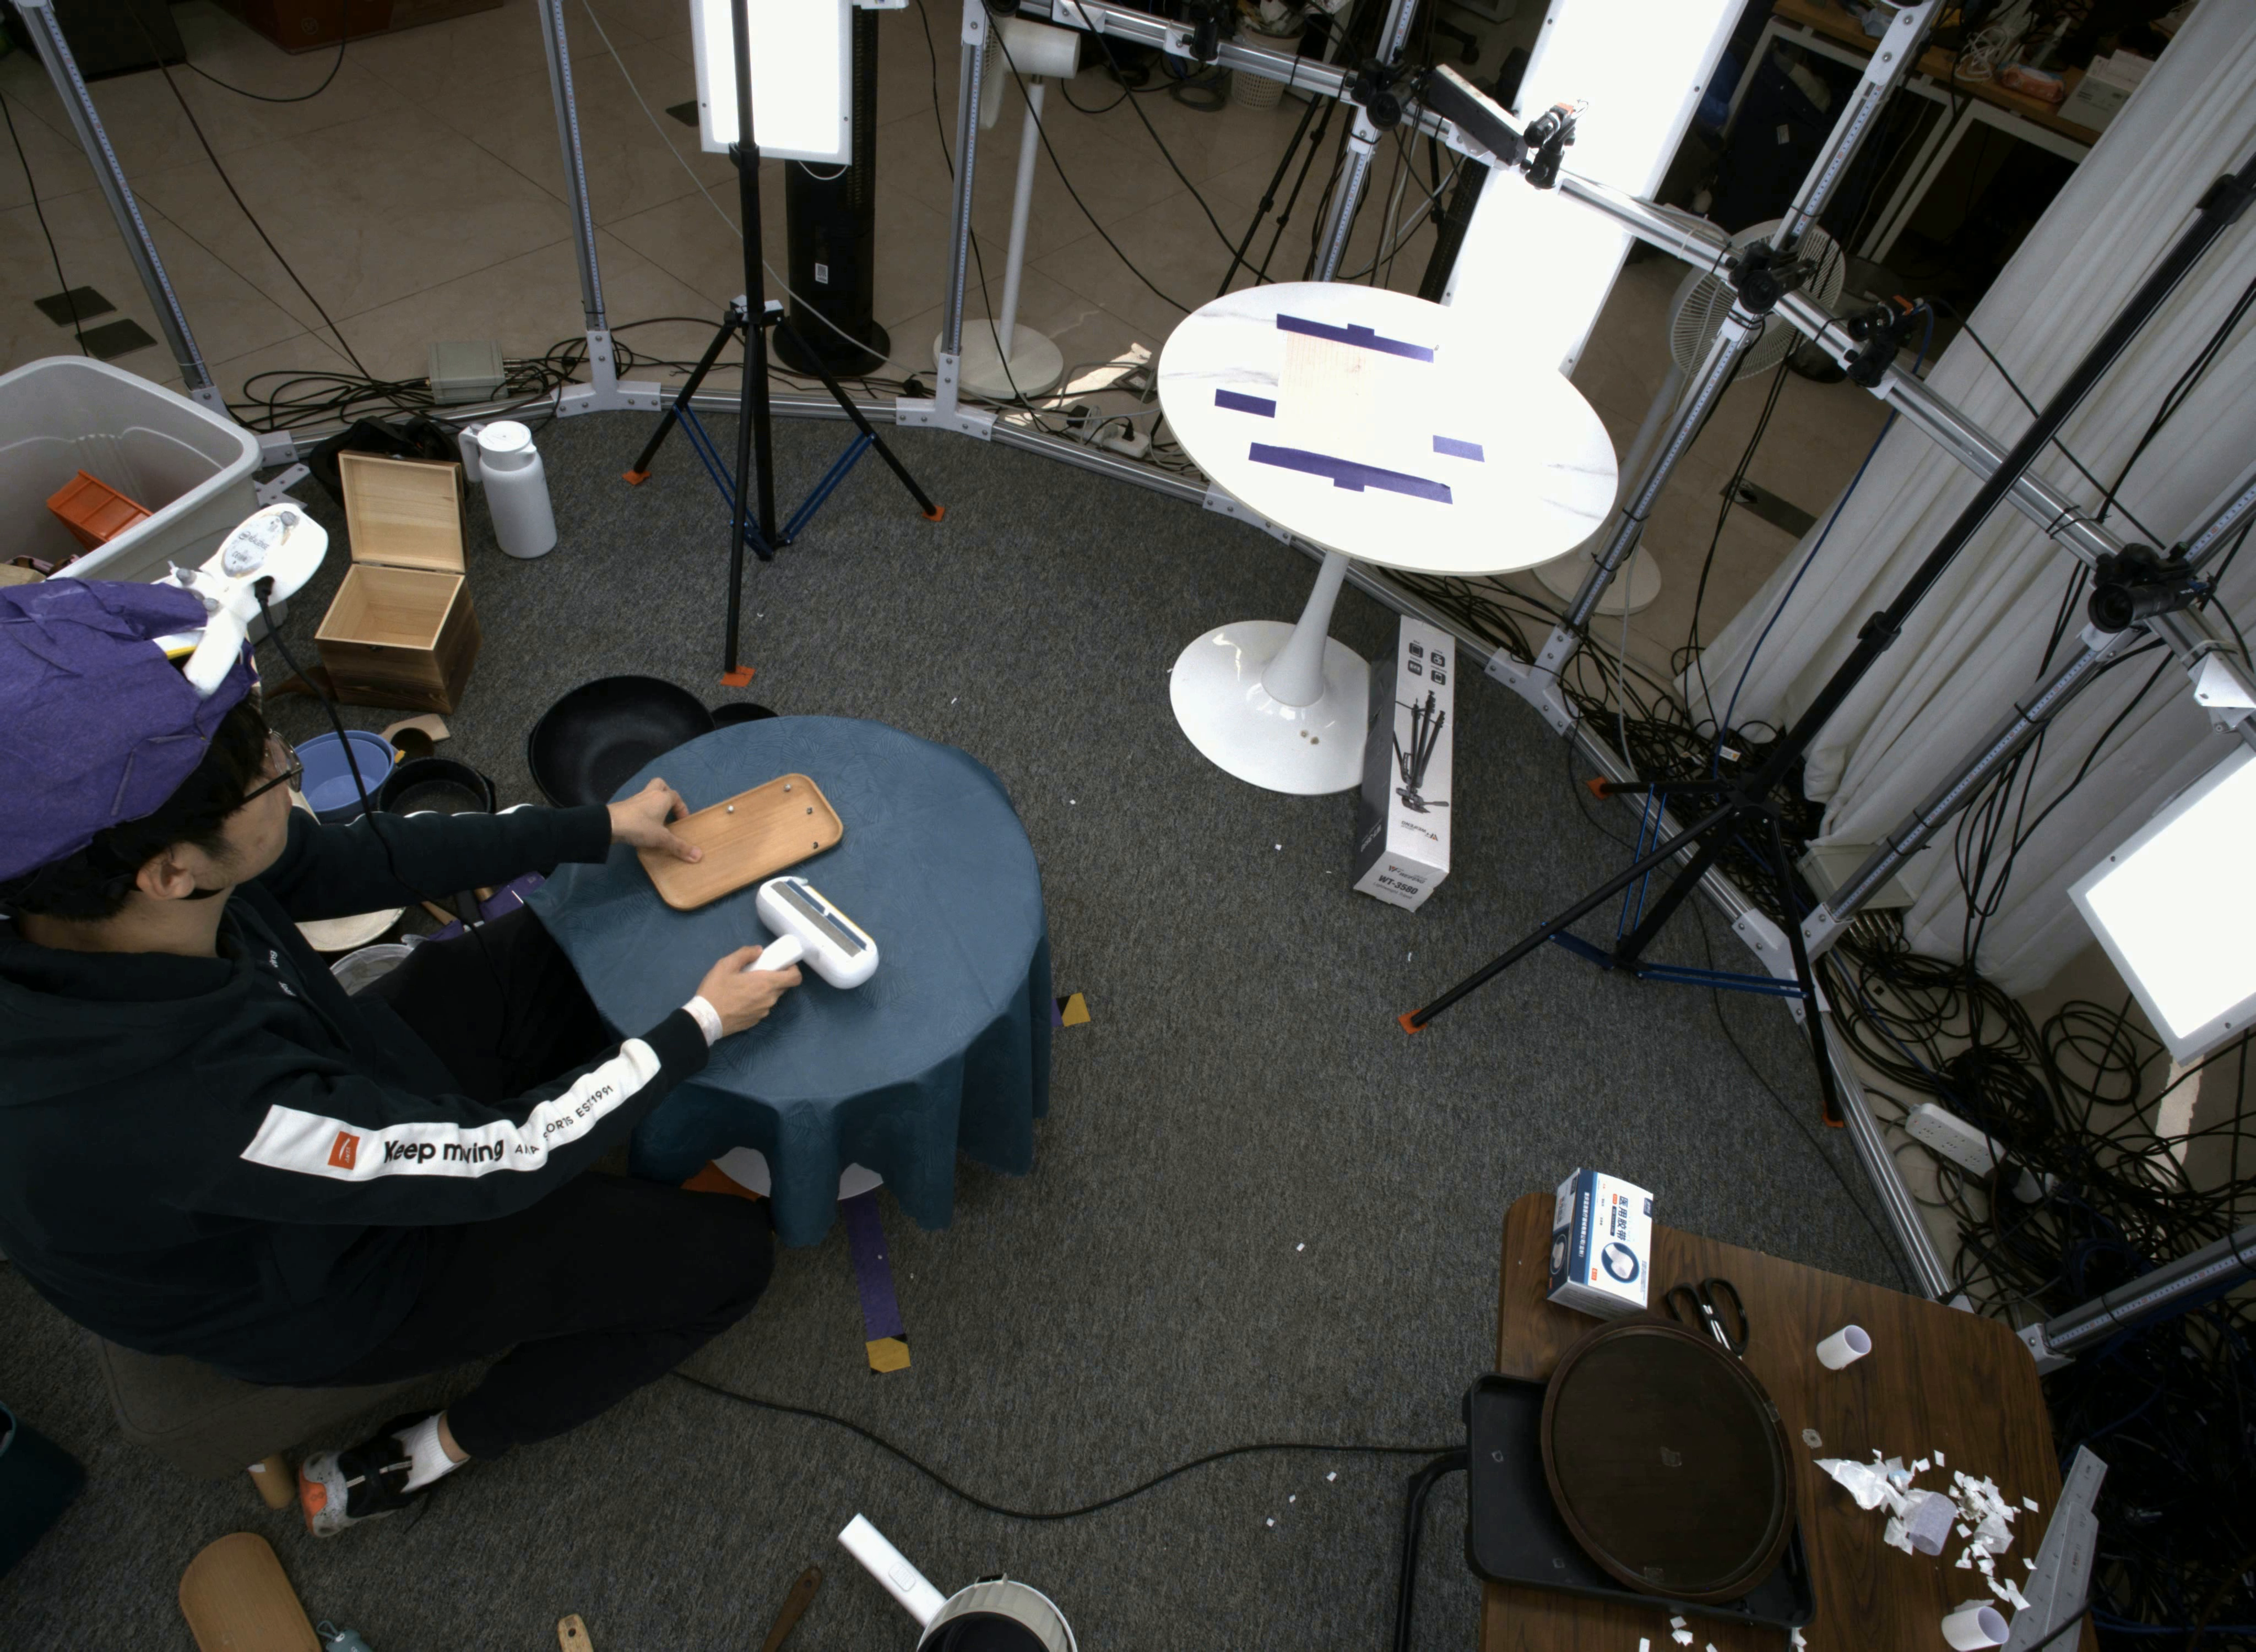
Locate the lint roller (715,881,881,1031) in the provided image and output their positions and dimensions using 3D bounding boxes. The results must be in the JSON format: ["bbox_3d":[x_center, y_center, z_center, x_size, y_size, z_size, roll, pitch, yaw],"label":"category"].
[{"bbox_3d":[-0.421,0.170,1.576,0.192,0.076,0.187,-35,60,-25],"label":"lint roller"}]

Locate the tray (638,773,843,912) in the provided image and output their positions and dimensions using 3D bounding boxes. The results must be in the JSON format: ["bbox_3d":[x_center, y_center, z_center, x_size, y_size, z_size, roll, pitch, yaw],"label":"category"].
[{"bbox_3d":[-0.502,0.018,1.681,0.252,0.023,0.127,-26,66,-29],"label":"tray"}]
